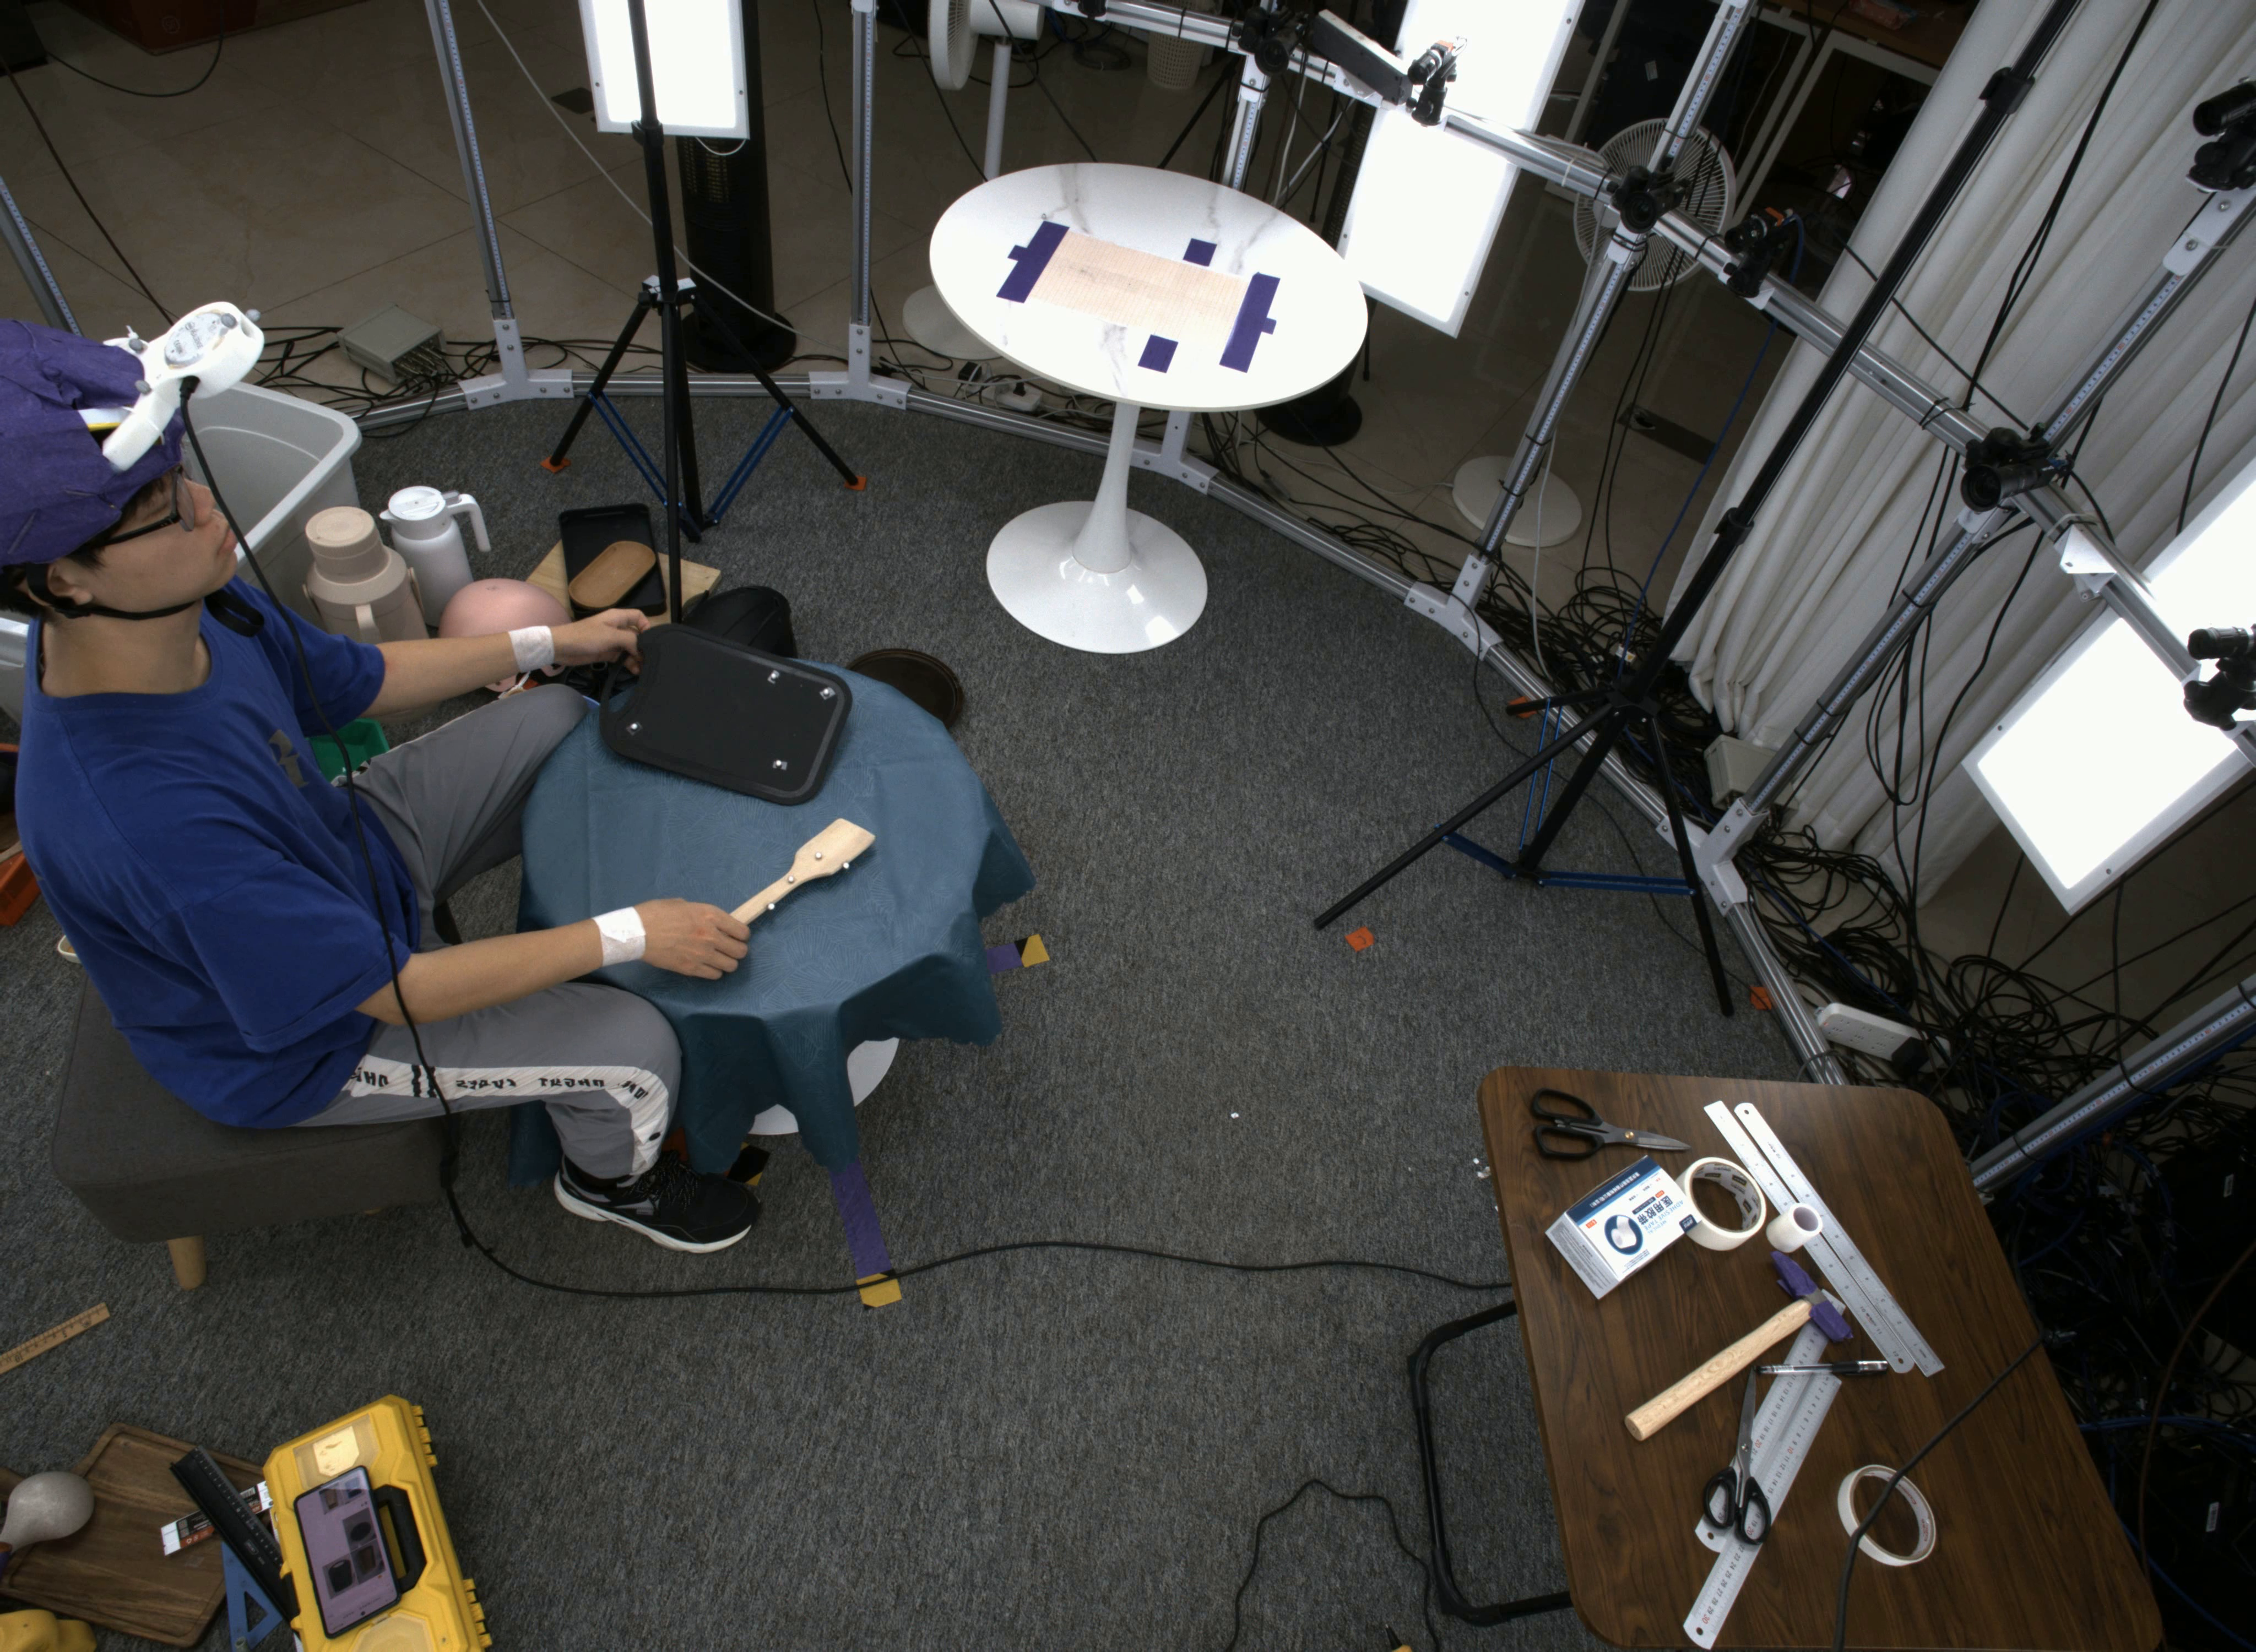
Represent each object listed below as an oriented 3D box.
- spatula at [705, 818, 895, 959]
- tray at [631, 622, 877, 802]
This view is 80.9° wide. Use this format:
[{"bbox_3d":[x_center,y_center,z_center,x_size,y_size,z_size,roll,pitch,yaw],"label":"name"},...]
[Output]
[{"bbox_3d":[-0.420,0.079,1.656,0.070,0.011,0.293,29,48,24],"label":"spatula"},{"bbox_3d":[-0.523,-0.163,1.783,0.324,0.010,0.210,19,67,-5],"label":"tray"}]
